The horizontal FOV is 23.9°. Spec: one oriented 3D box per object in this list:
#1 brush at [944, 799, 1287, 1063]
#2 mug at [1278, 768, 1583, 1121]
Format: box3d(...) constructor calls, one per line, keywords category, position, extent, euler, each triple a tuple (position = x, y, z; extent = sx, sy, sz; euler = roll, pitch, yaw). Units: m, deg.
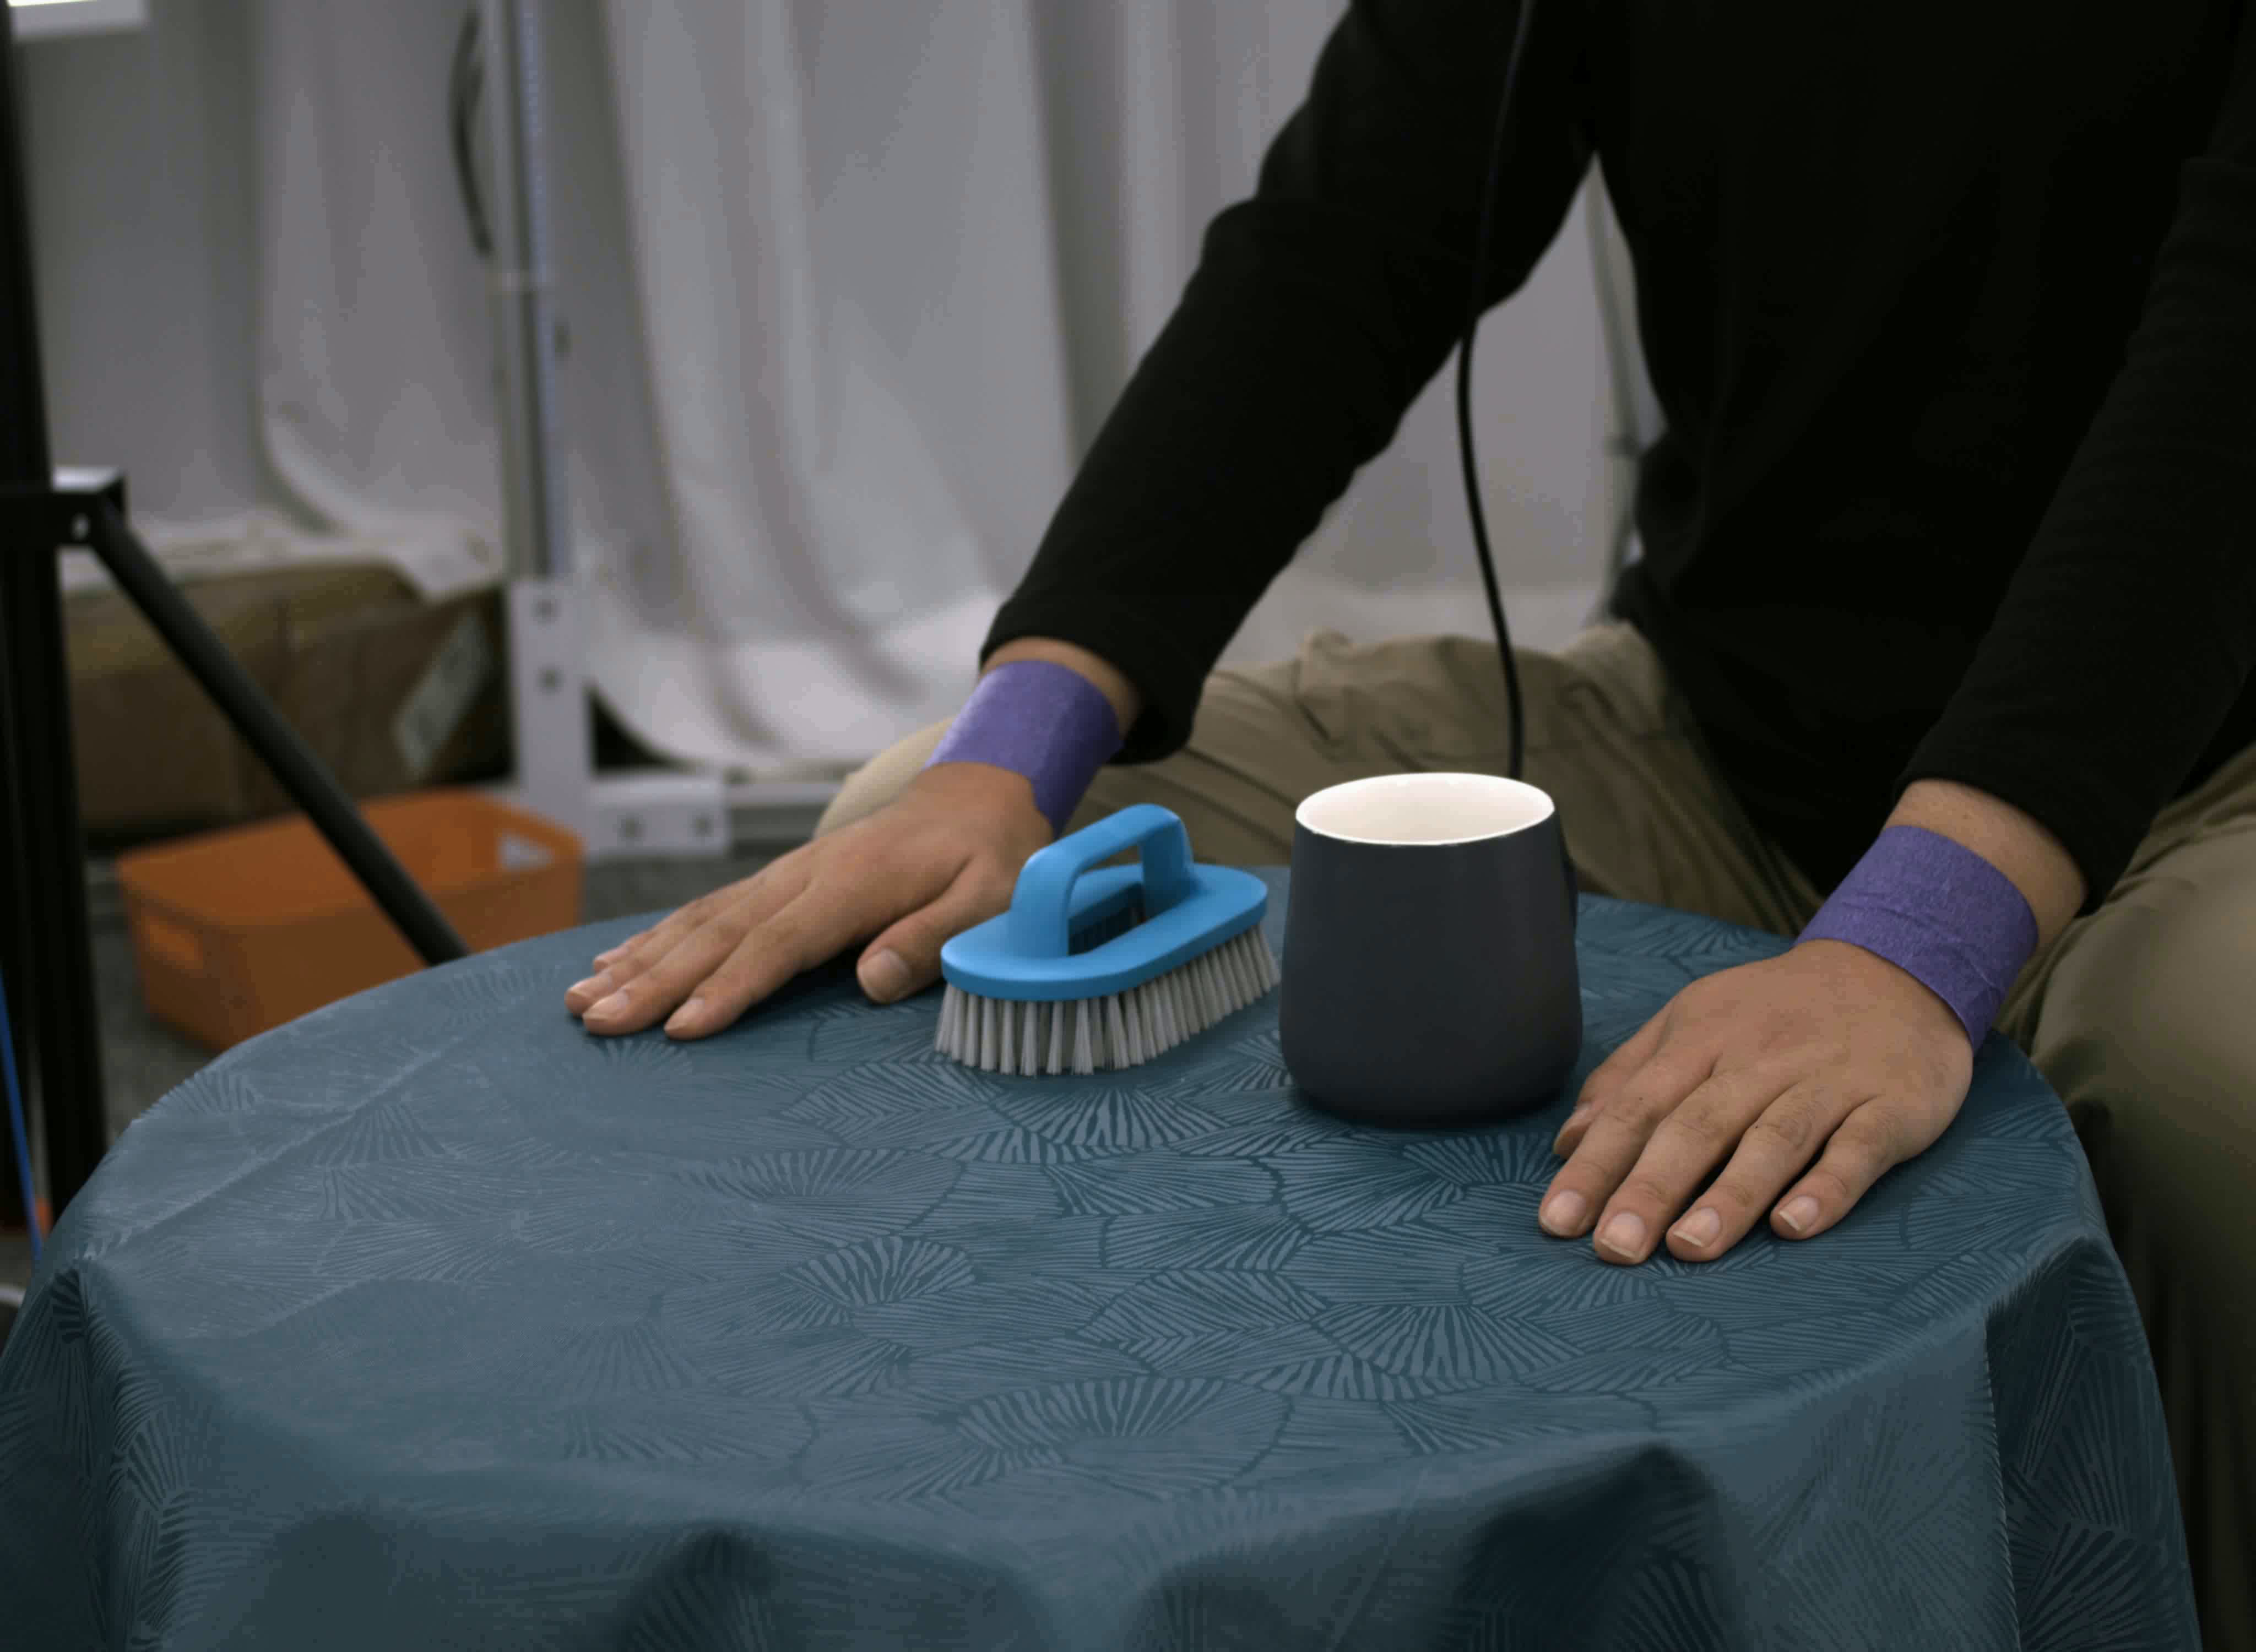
box3d(category="brush", position=(-0.004, 0.029, 1.719), extent=(0.086, 0.064, 0.139), euler=(3, 15, 34))
box3d(category="mug", position=(0.101, 0.033, 1.637), extent=(0.095, 0.090, 0.120), euler=(11, 22, 39))
